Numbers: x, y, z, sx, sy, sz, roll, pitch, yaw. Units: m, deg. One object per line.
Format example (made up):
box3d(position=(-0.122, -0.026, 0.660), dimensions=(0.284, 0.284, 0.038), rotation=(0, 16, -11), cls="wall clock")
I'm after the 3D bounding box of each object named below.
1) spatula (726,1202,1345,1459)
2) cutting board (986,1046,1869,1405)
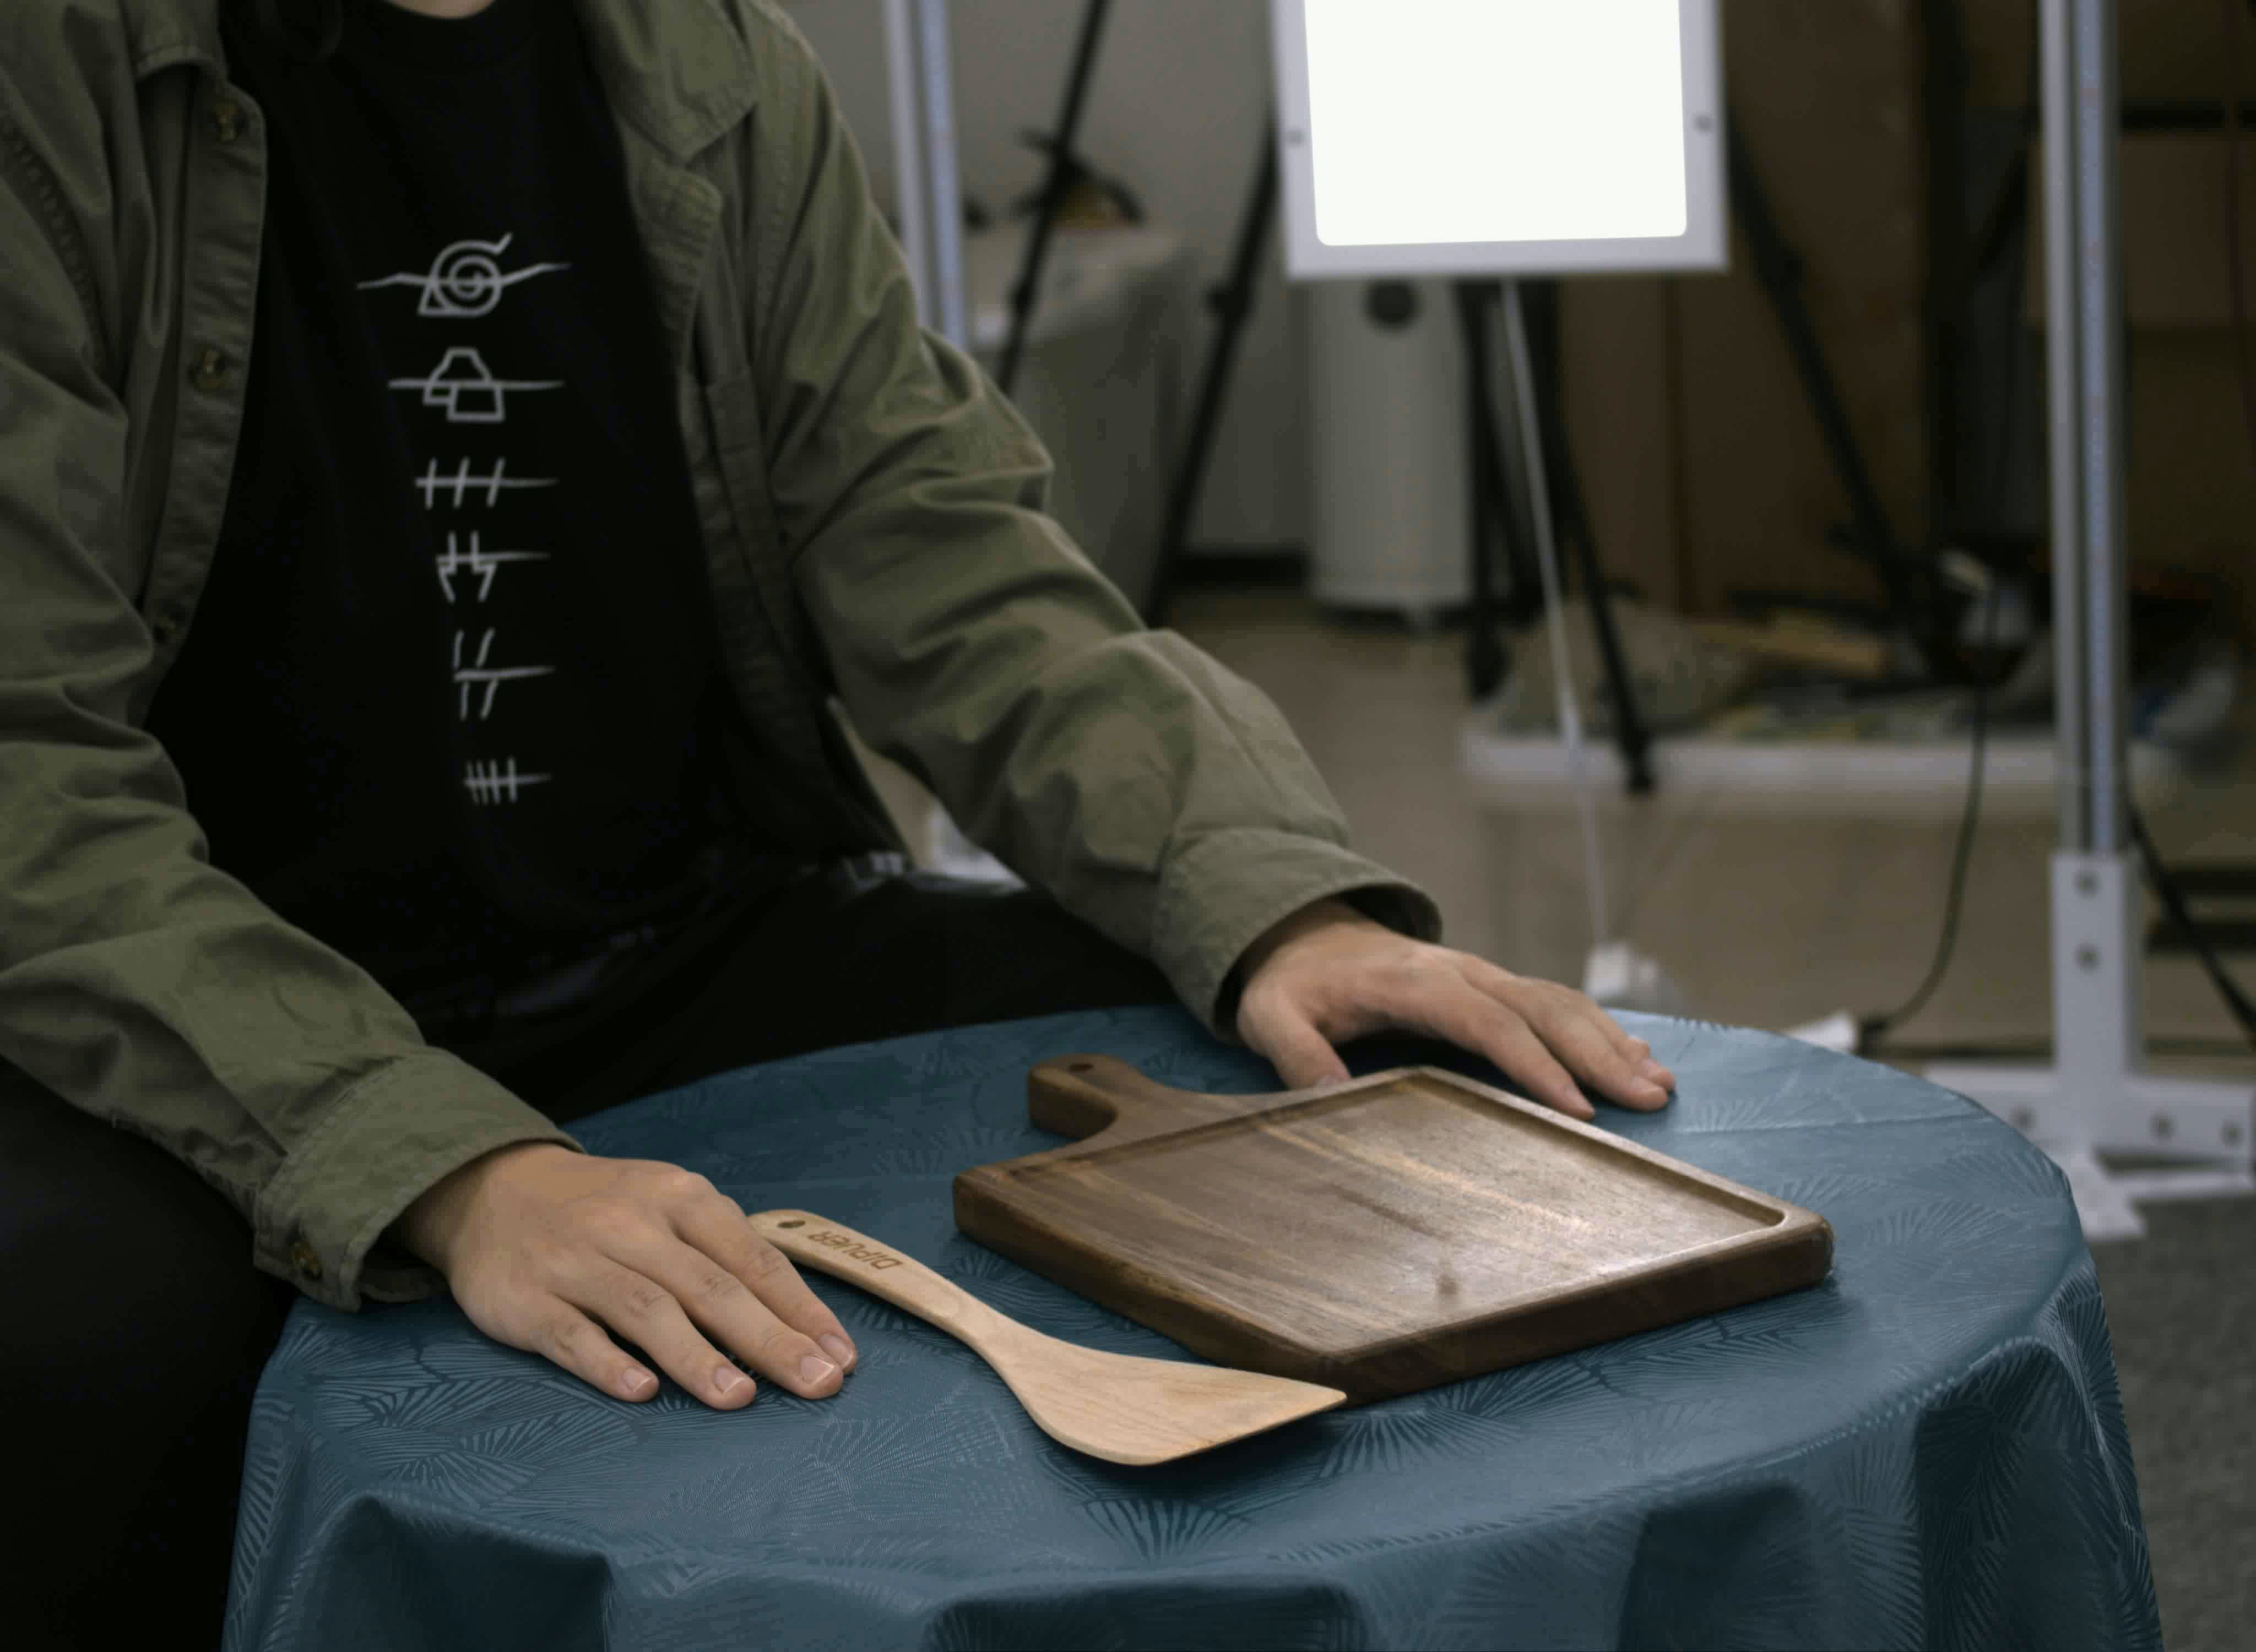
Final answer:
box3d(position=(-0.044, 0.155, 1.756), dimensions=(0.078, 0.016, 0.334), rotation=(-12, 16, -29), cls="spatula")
box3d(position=(0.071, 0.120, 1.849), dimensions=(0.197, 0.023, 0.358), rotation=(-11, 15, -25), cls="cutting board")
